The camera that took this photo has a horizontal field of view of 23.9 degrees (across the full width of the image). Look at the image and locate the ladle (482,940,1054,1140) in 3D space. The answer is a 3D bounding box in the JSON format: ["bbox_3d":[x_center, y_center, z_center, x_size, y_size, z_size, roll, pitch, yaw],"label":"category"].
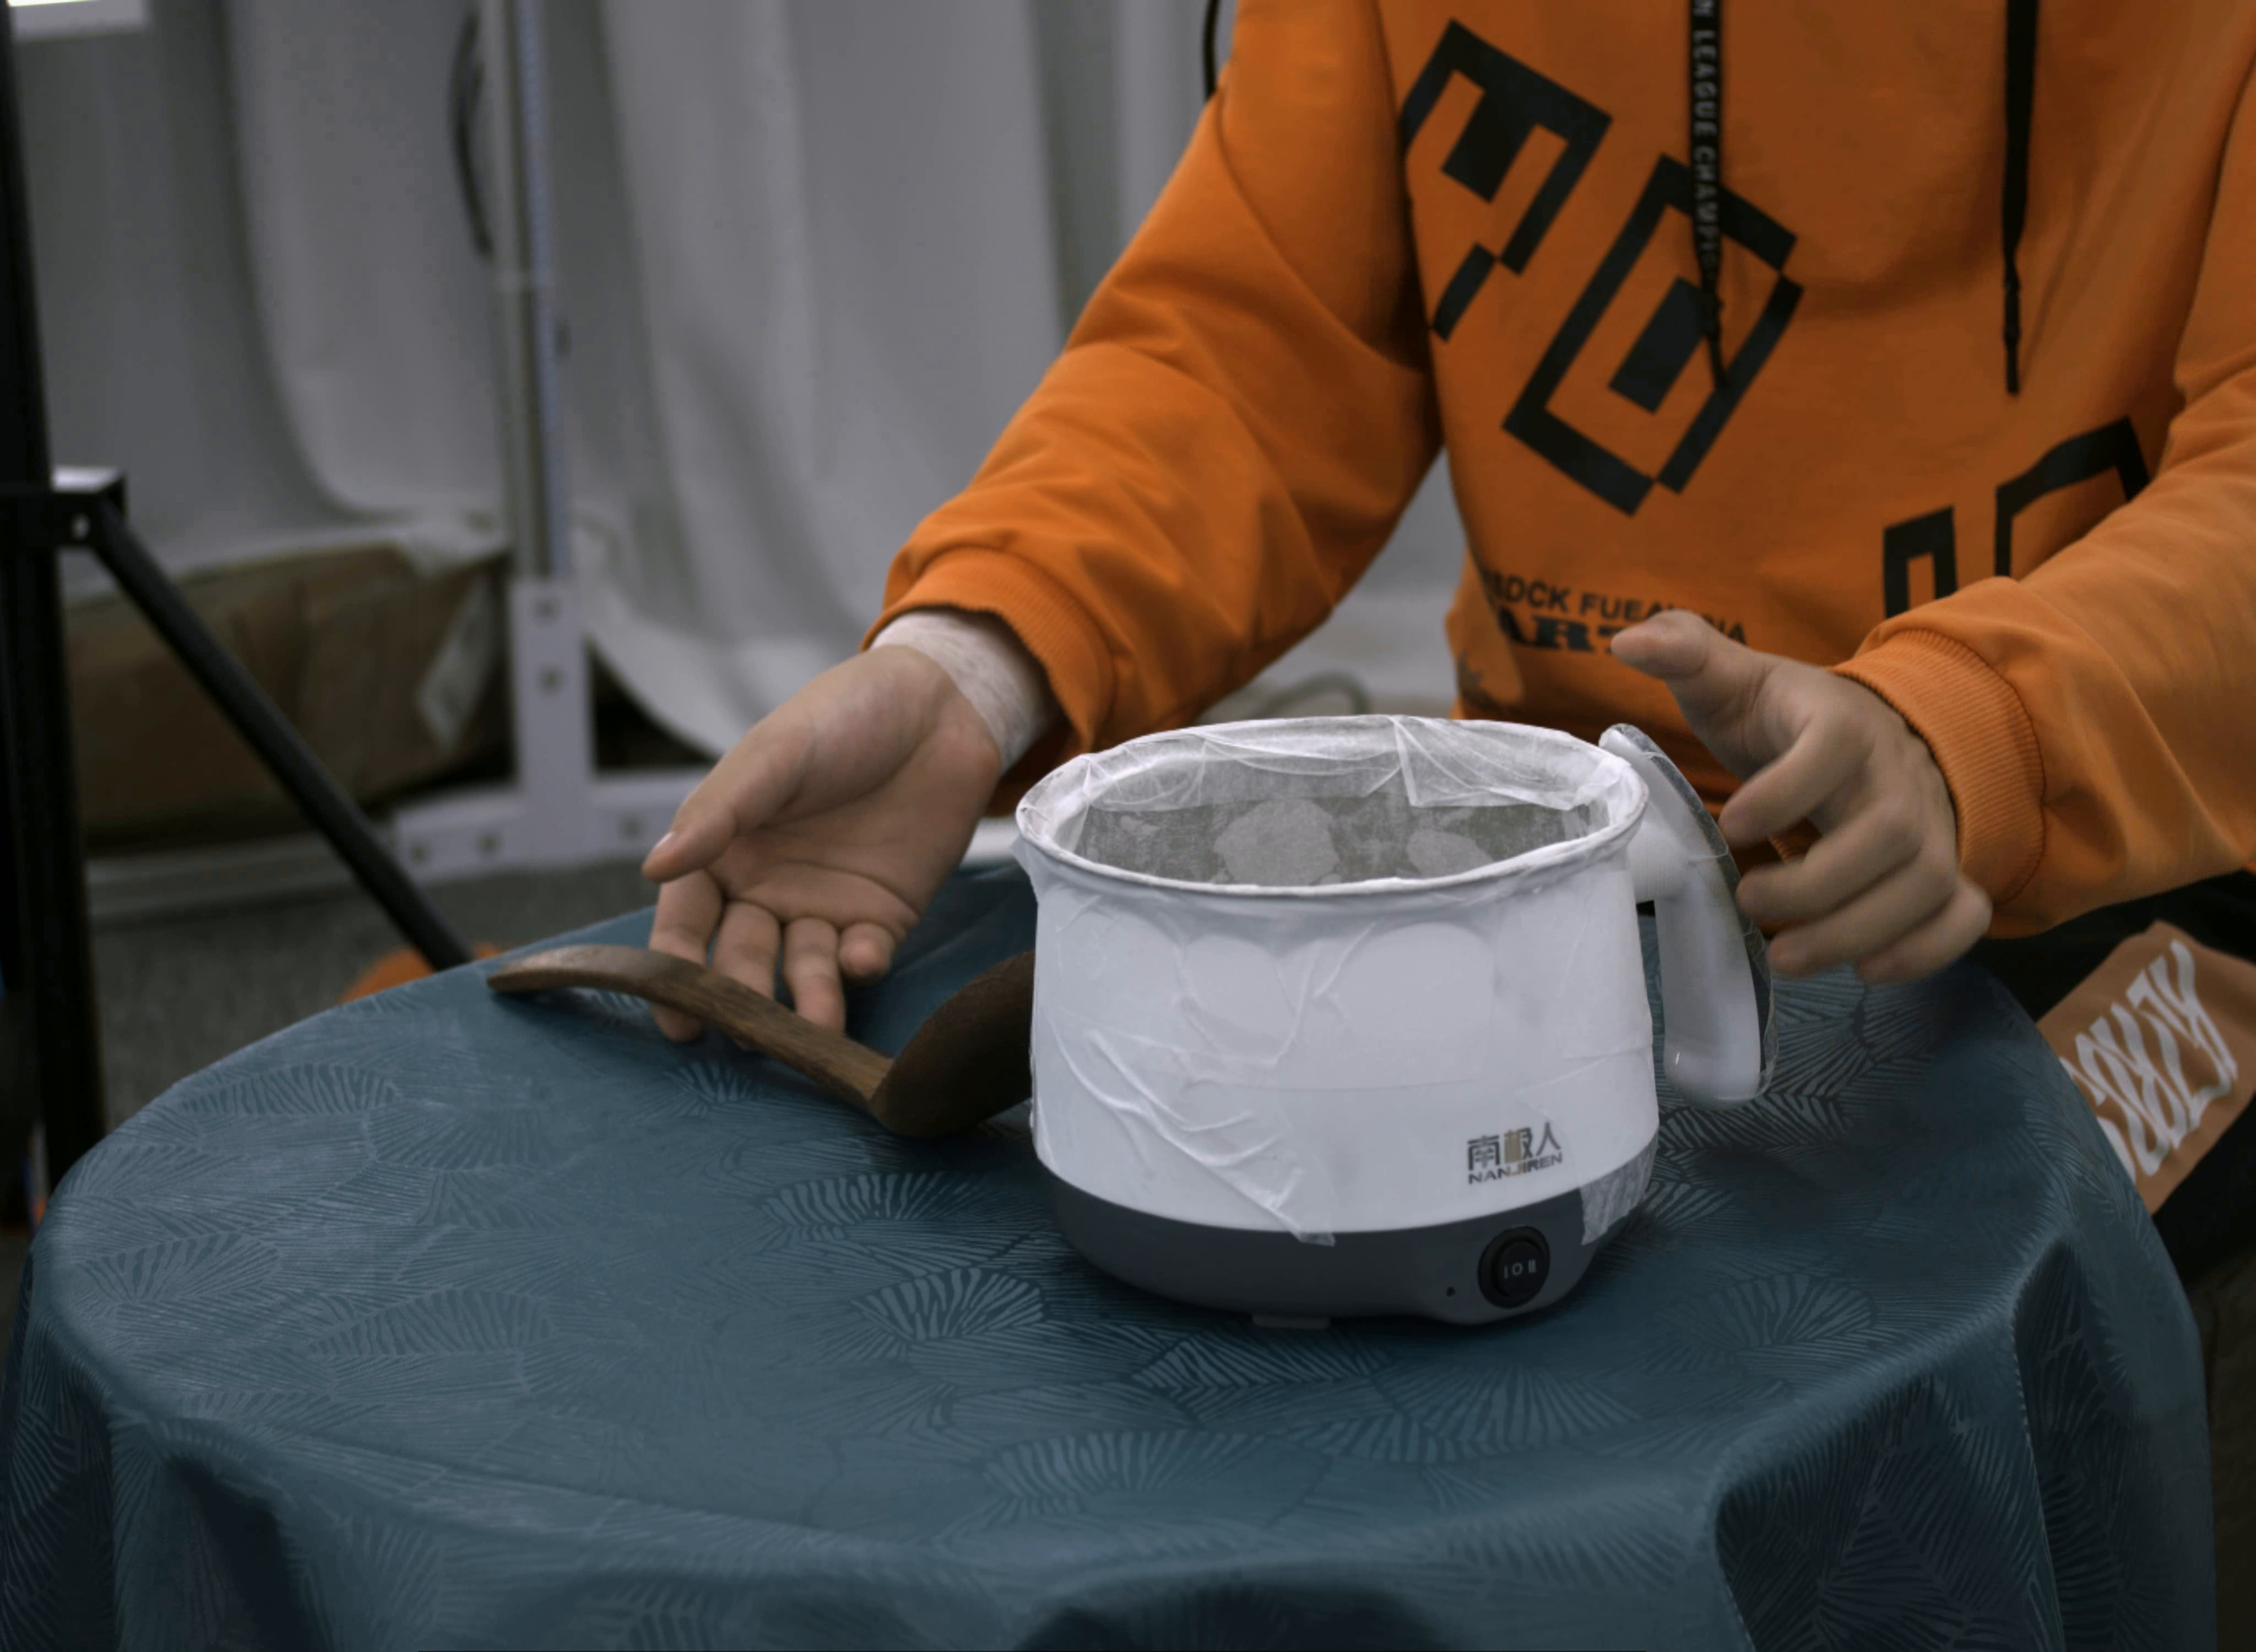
[{"bbox_3d":[-0.117,0.044,1.672,0.074,0.071,0.280,-18,23,-38],"label":"ladle"}]

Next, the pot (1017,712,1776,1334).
[{"bbox_3d":[0.083,0.048,1.503,0.228,0.136,0.182,-12,18,-29],"label":"pot"}]
